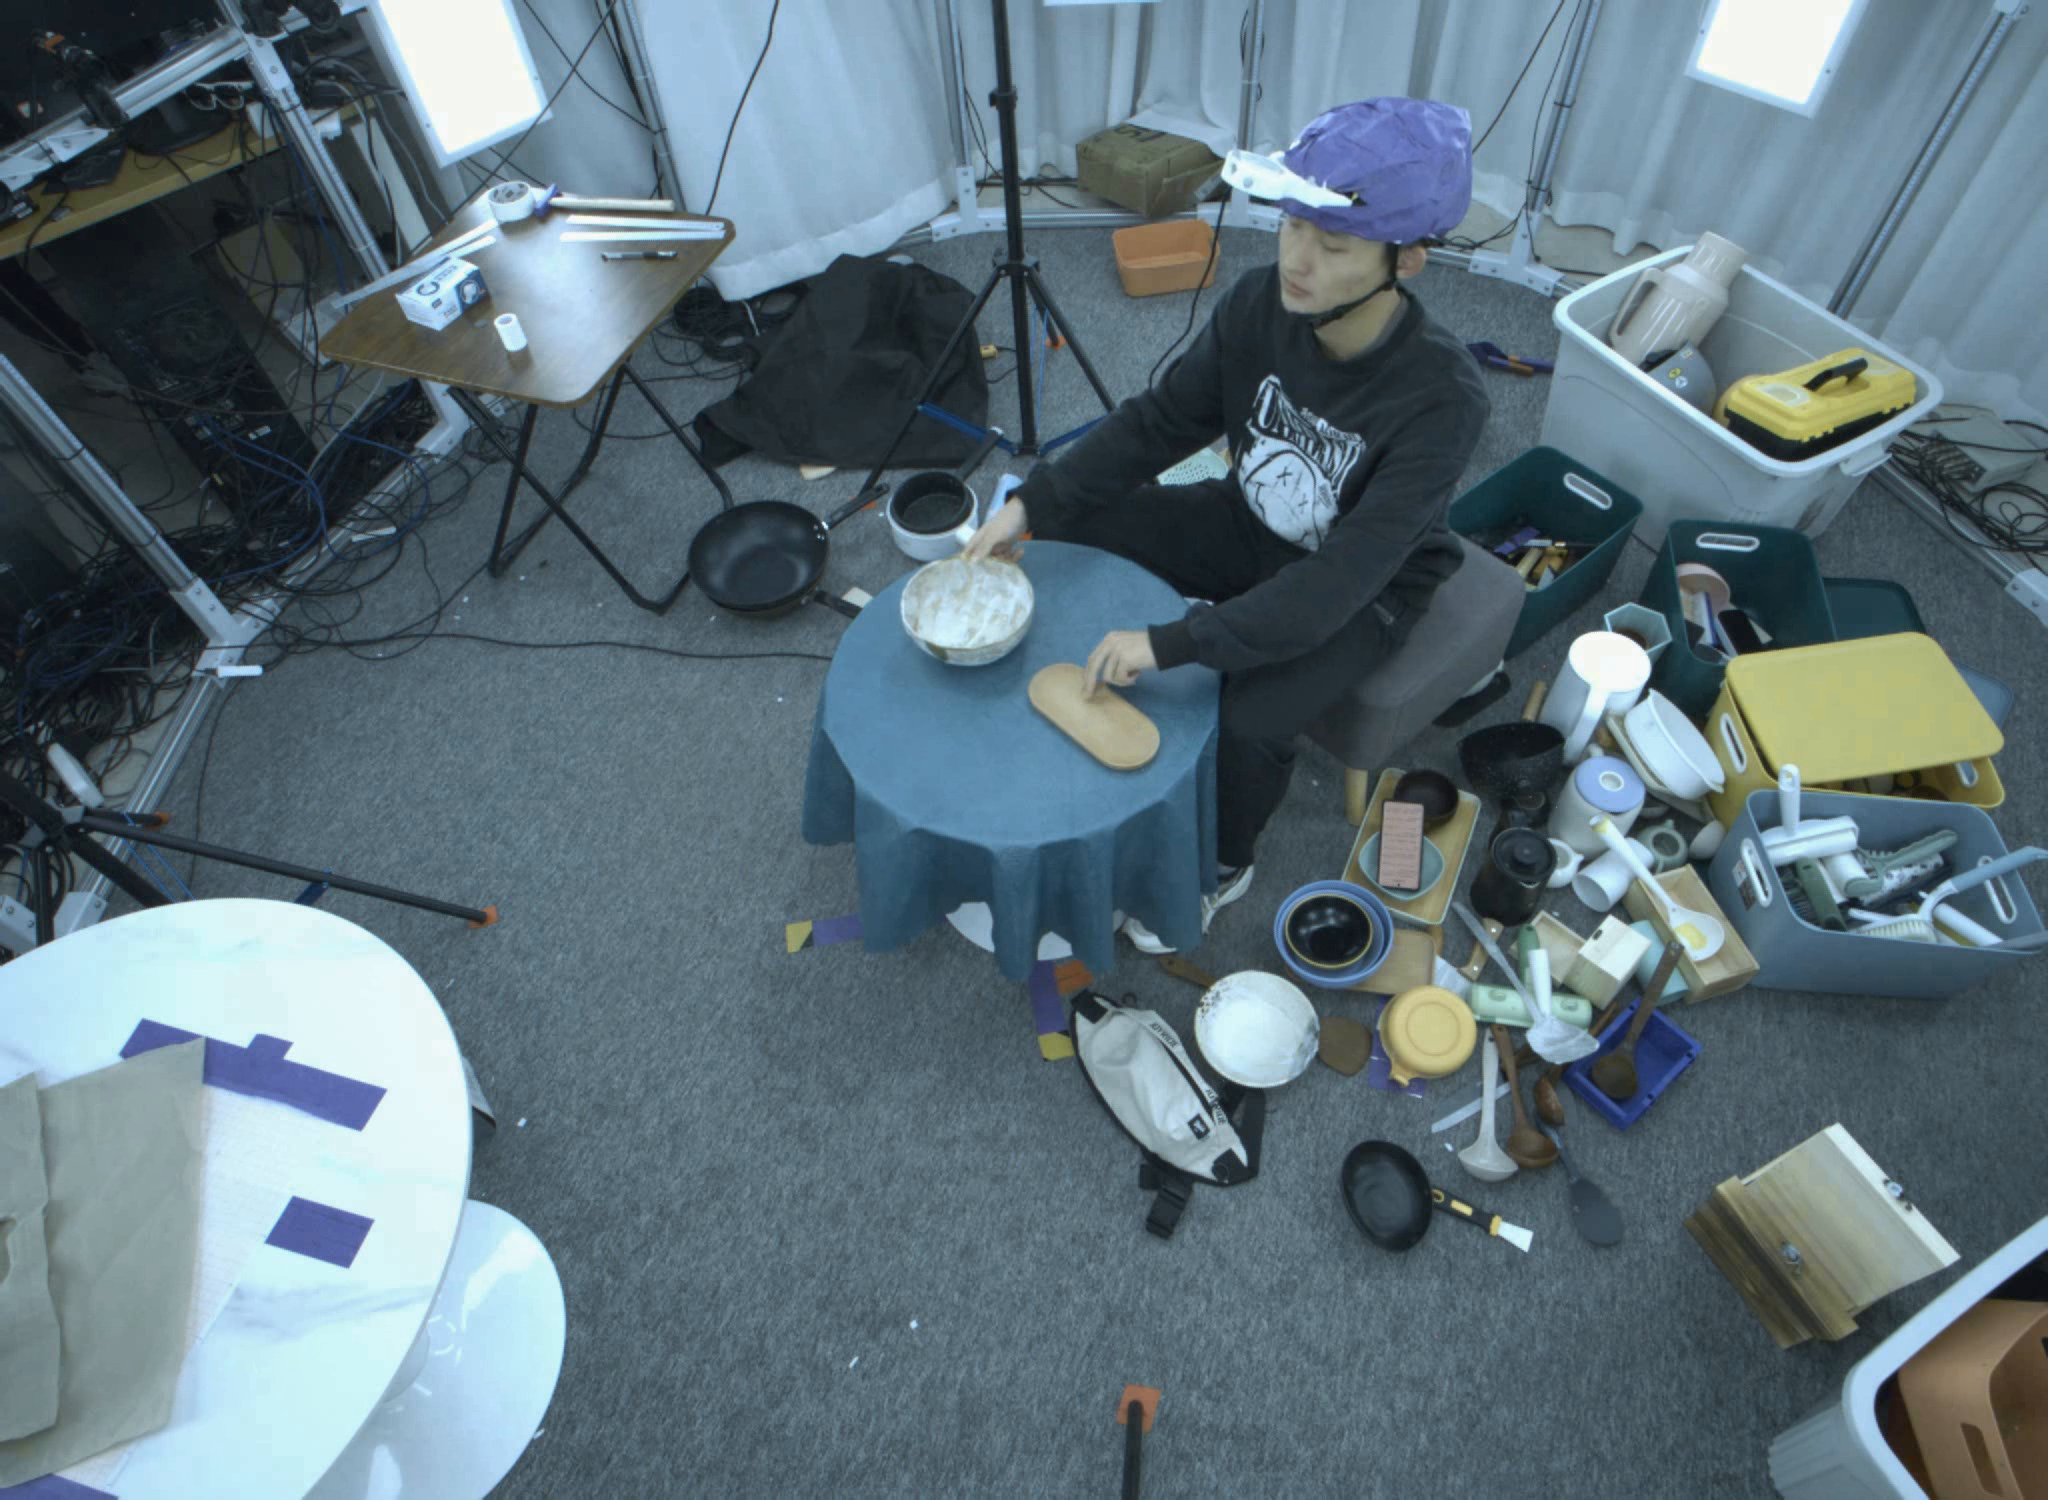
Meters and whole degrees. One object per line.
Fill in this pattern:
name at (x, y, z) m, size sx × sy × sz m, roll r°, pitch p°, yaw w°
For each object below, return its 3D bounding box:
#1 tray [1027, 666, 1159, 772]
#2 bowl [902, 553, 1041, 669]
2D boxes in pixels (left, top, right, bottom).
tray at (0.101, -0.047, 1.818) m, size 0.102 × 0.020 × 0.227 m, roll -38°, pitch 60°, yaw -24°
bowl at (-0.077, -0.195, 1.880) m, size 0.214 × 0.095 × 0.212 m, roll -1°, pitch 54°, yaw 2°
